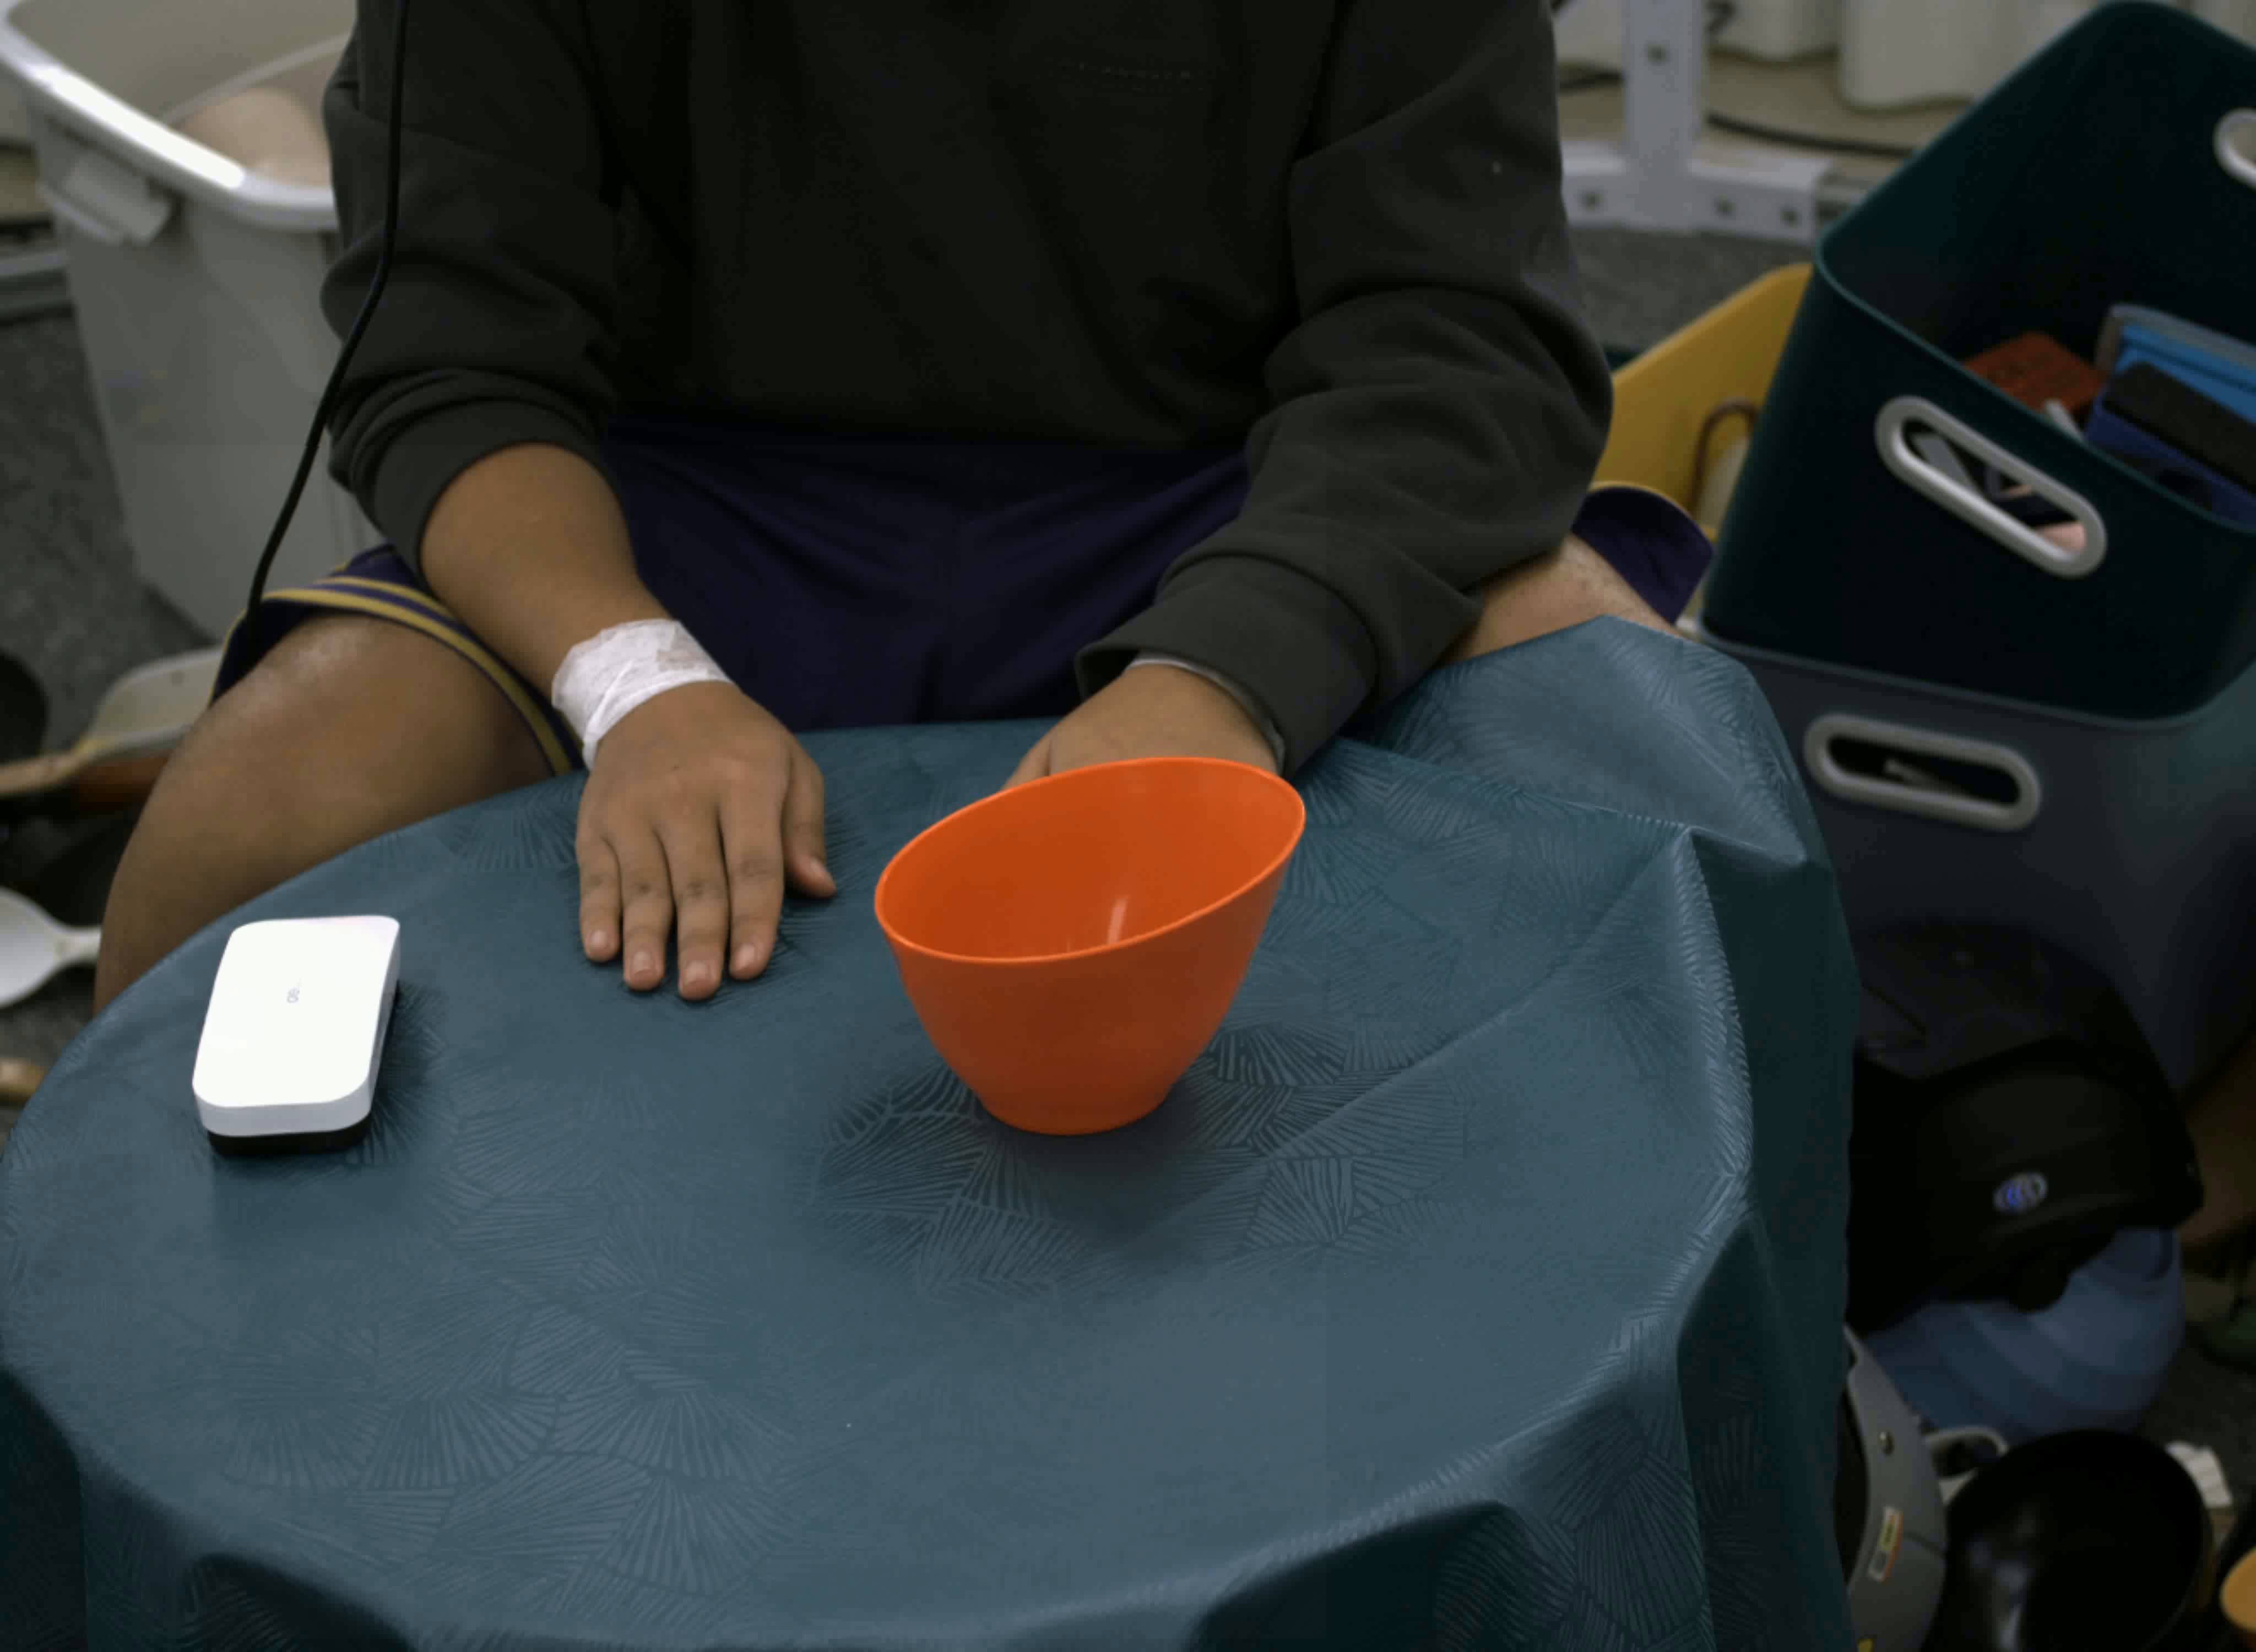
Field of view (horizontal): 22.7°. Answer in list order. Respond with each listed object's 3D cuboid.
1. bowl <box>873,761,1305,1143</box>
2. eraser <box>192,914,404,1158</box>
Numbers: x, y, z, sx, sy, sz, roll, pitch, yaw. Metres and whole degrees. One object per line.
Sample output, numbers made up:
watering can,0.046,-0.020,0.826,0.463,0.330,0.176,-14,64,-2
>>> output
bowl,-0.011,0.048,1.899,0.147,0.103,0.150,-3,27,2
eraser,-0.286,0.070,1.956,0.063,0.034,0.133,-1,29,2
